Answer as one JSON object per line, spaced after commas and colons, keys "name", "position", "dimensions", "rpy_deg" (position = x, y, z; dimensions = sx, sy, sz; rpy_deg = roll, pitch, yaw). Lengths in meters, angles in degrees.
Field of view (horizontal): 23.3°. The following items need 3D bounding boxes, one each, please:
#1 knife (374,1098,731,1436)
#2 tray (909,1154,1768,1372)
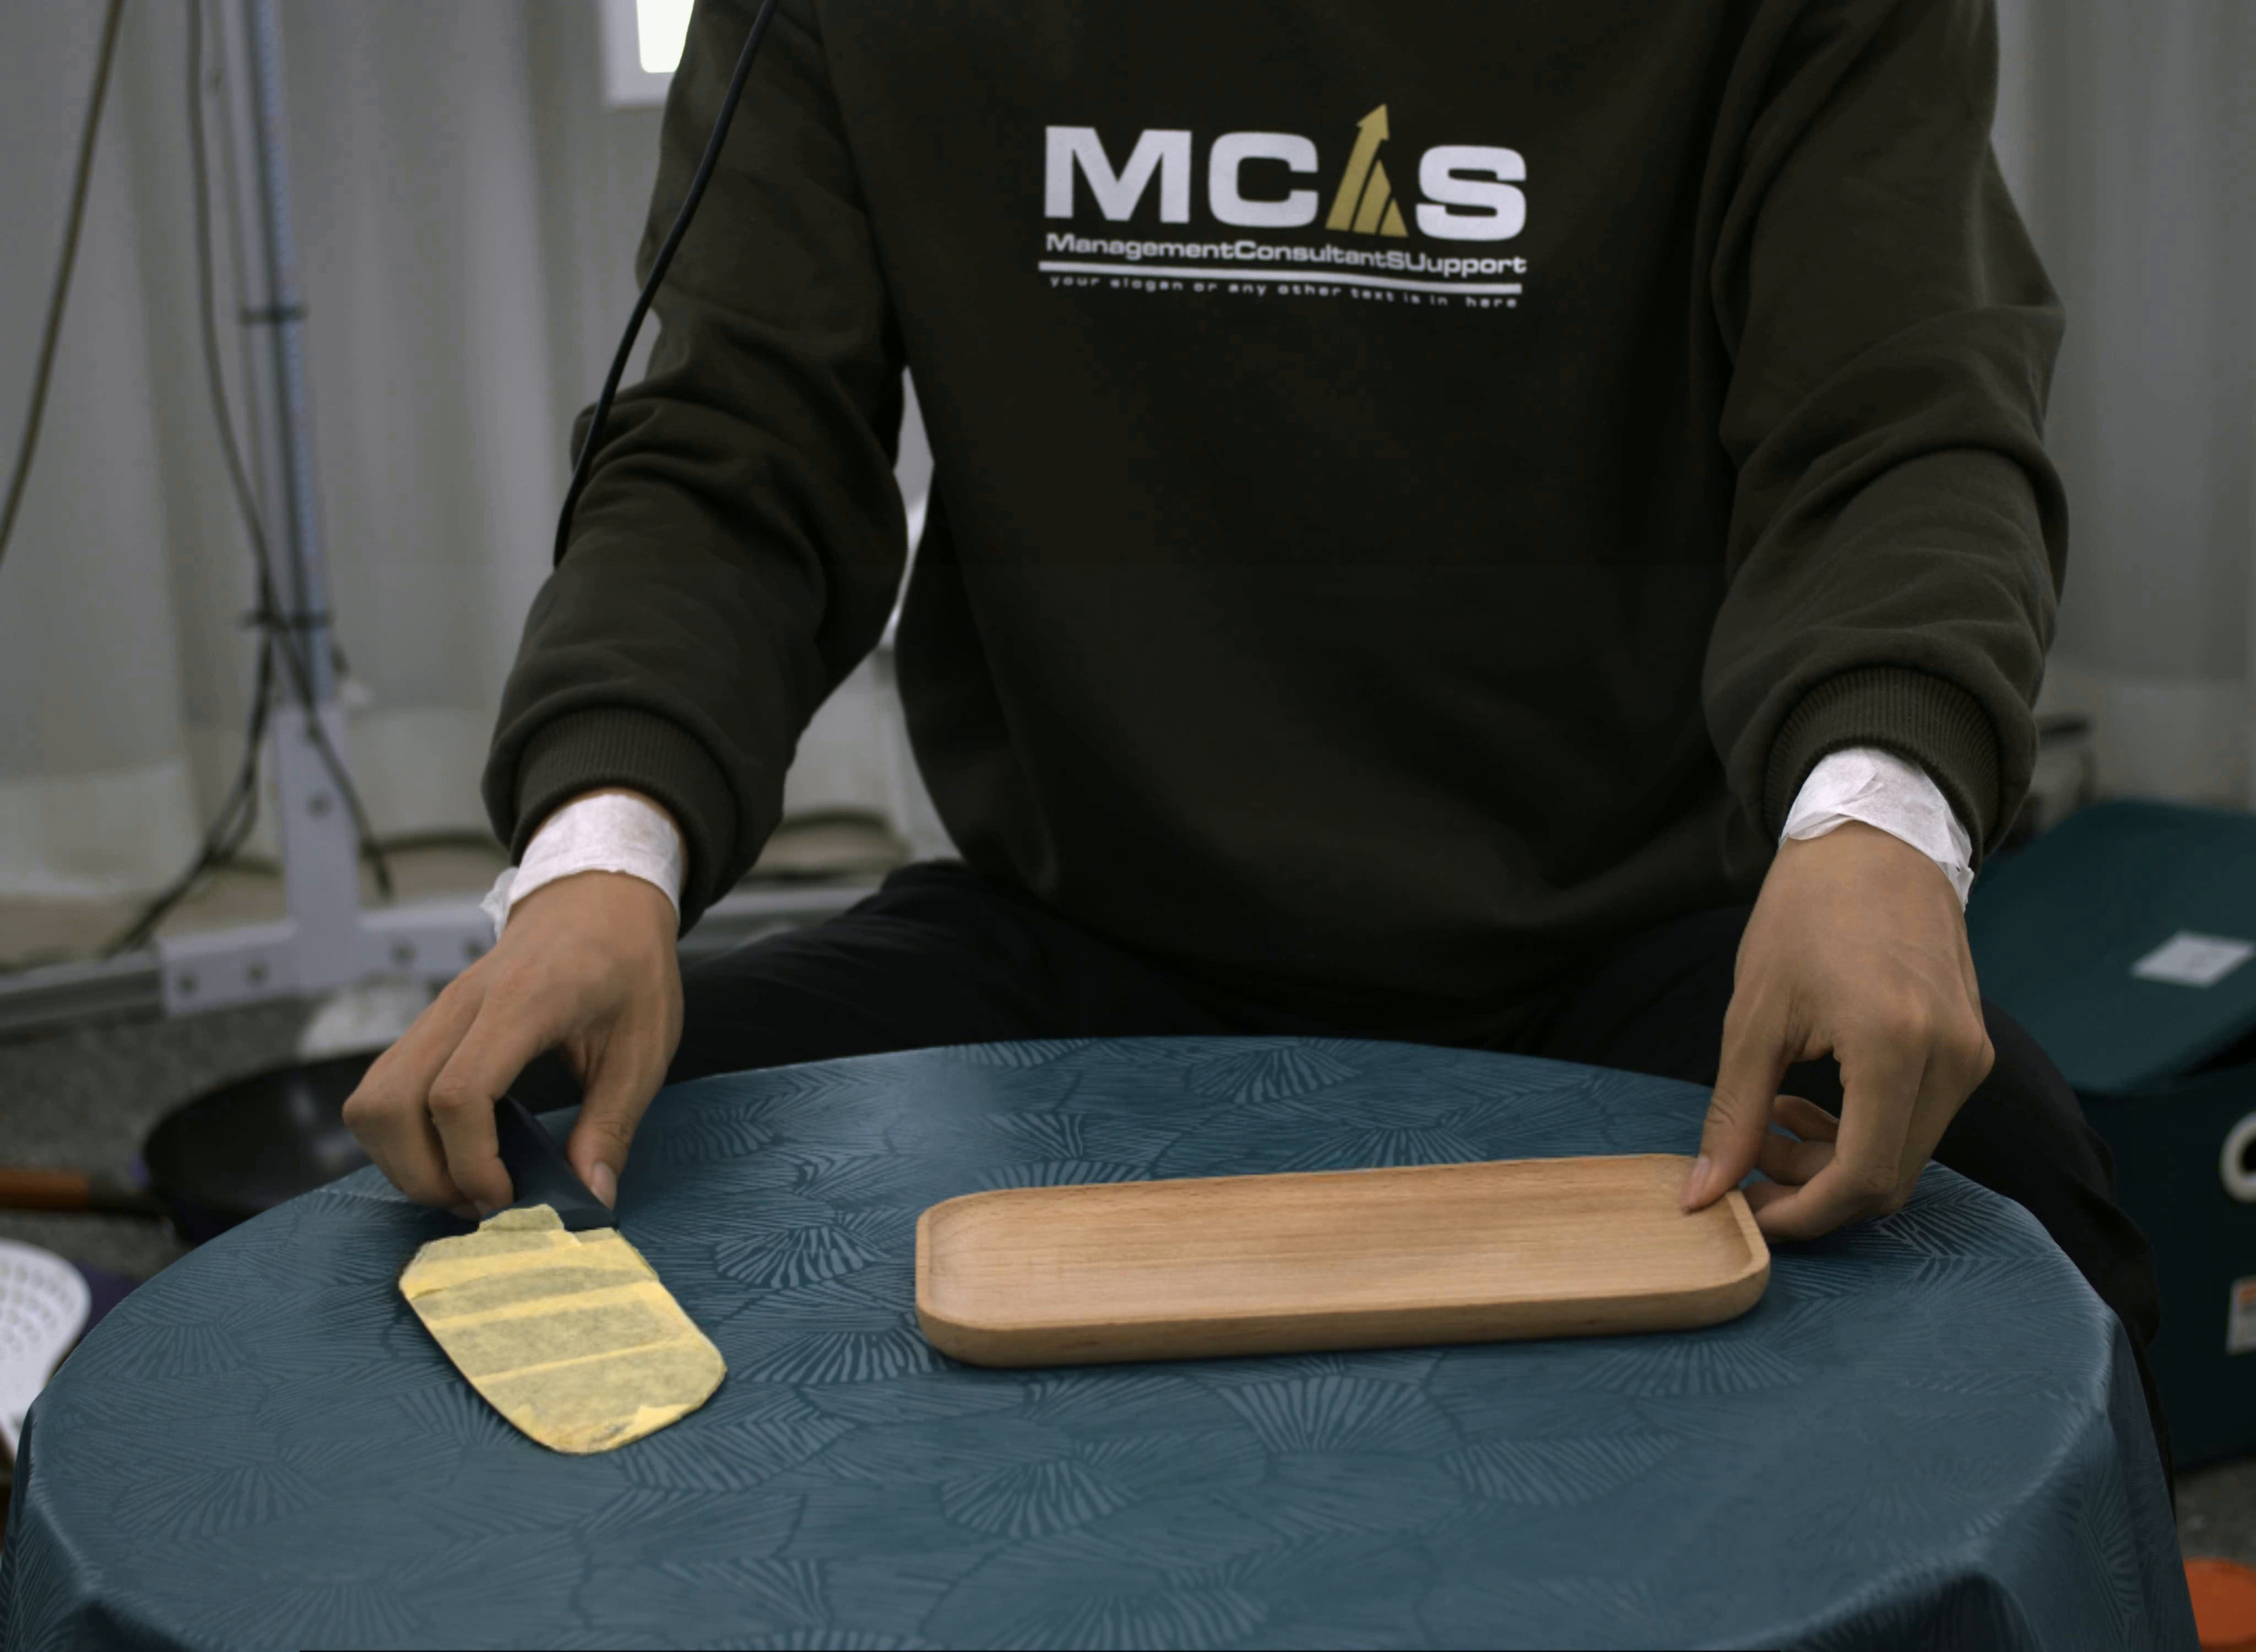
{"name": "knife", "position": [-0.185, 0.133, 1.653], "dimensions": [0.080, 0.027, 0.292], "rpy_deg": [-5, 16, -18]}
{"name": "tray", "position": [0.060, 0.129, 1.620], "dimensions": [0.250, 0.023, 0.131], "rpy_deg": [-4, 12, -1]}
